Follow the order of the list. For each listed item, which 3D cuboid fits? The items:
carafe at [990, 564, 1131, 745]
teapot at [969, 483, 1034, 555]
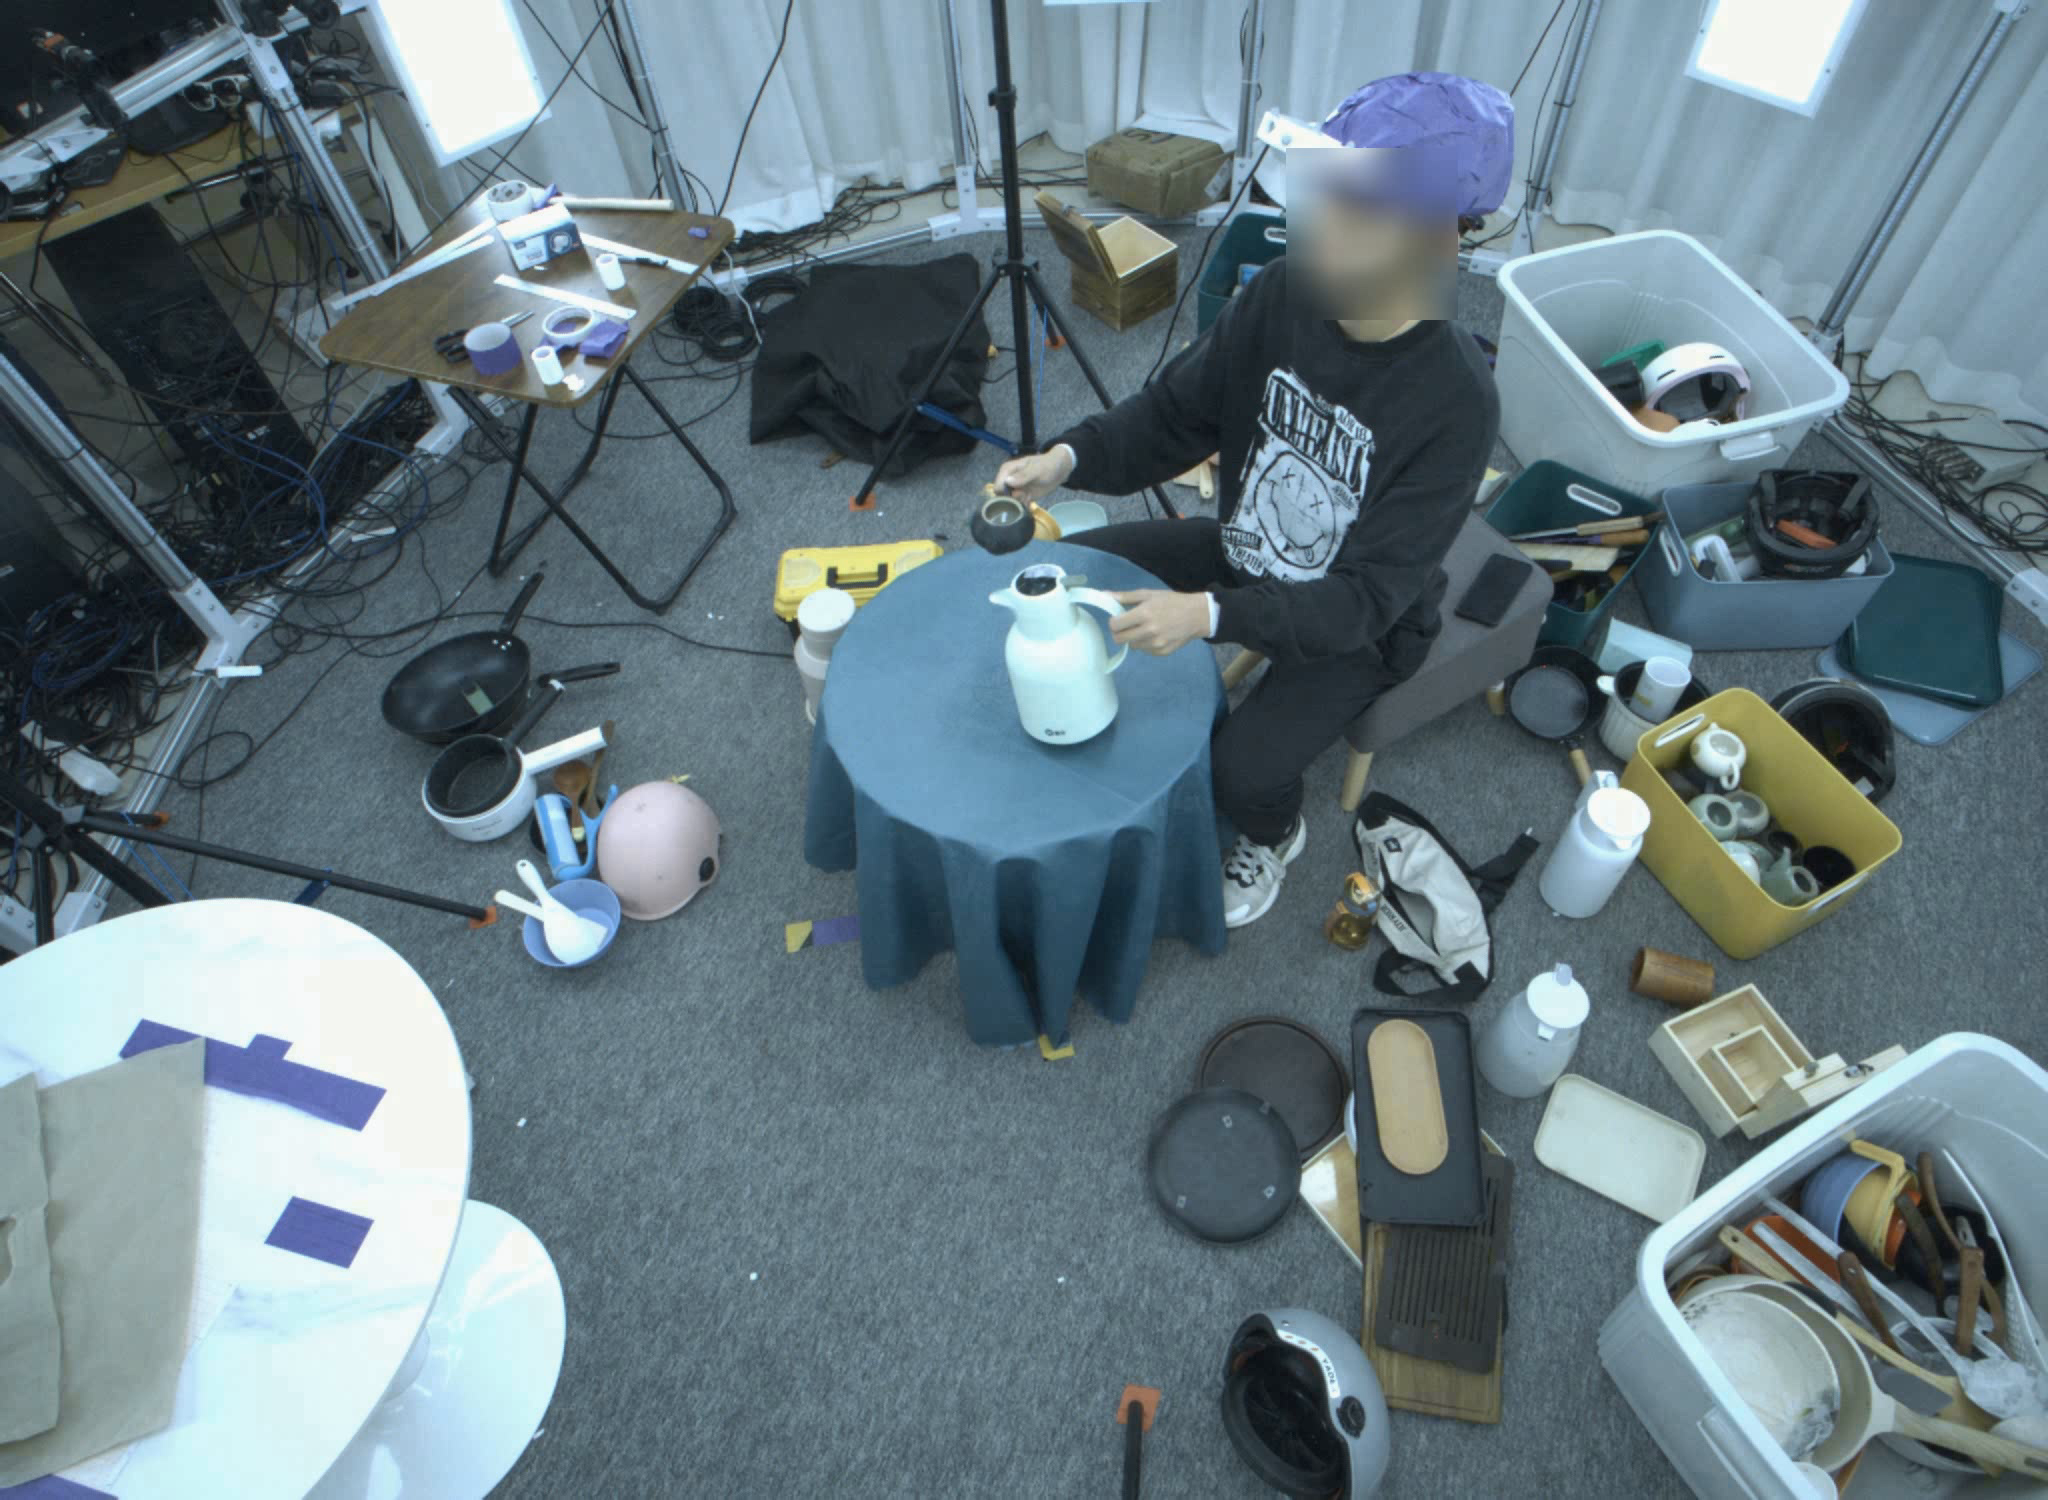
[{"bbox_3d":[0.057,-0.137,1.711,0.185,0.260,0.143,2,46,12],"label":"carafe"},{"bbox_3d":[-0.032,-0.314,1.696,0.091,0.053,0.132,10,58,4],"label":"teapot"}]
